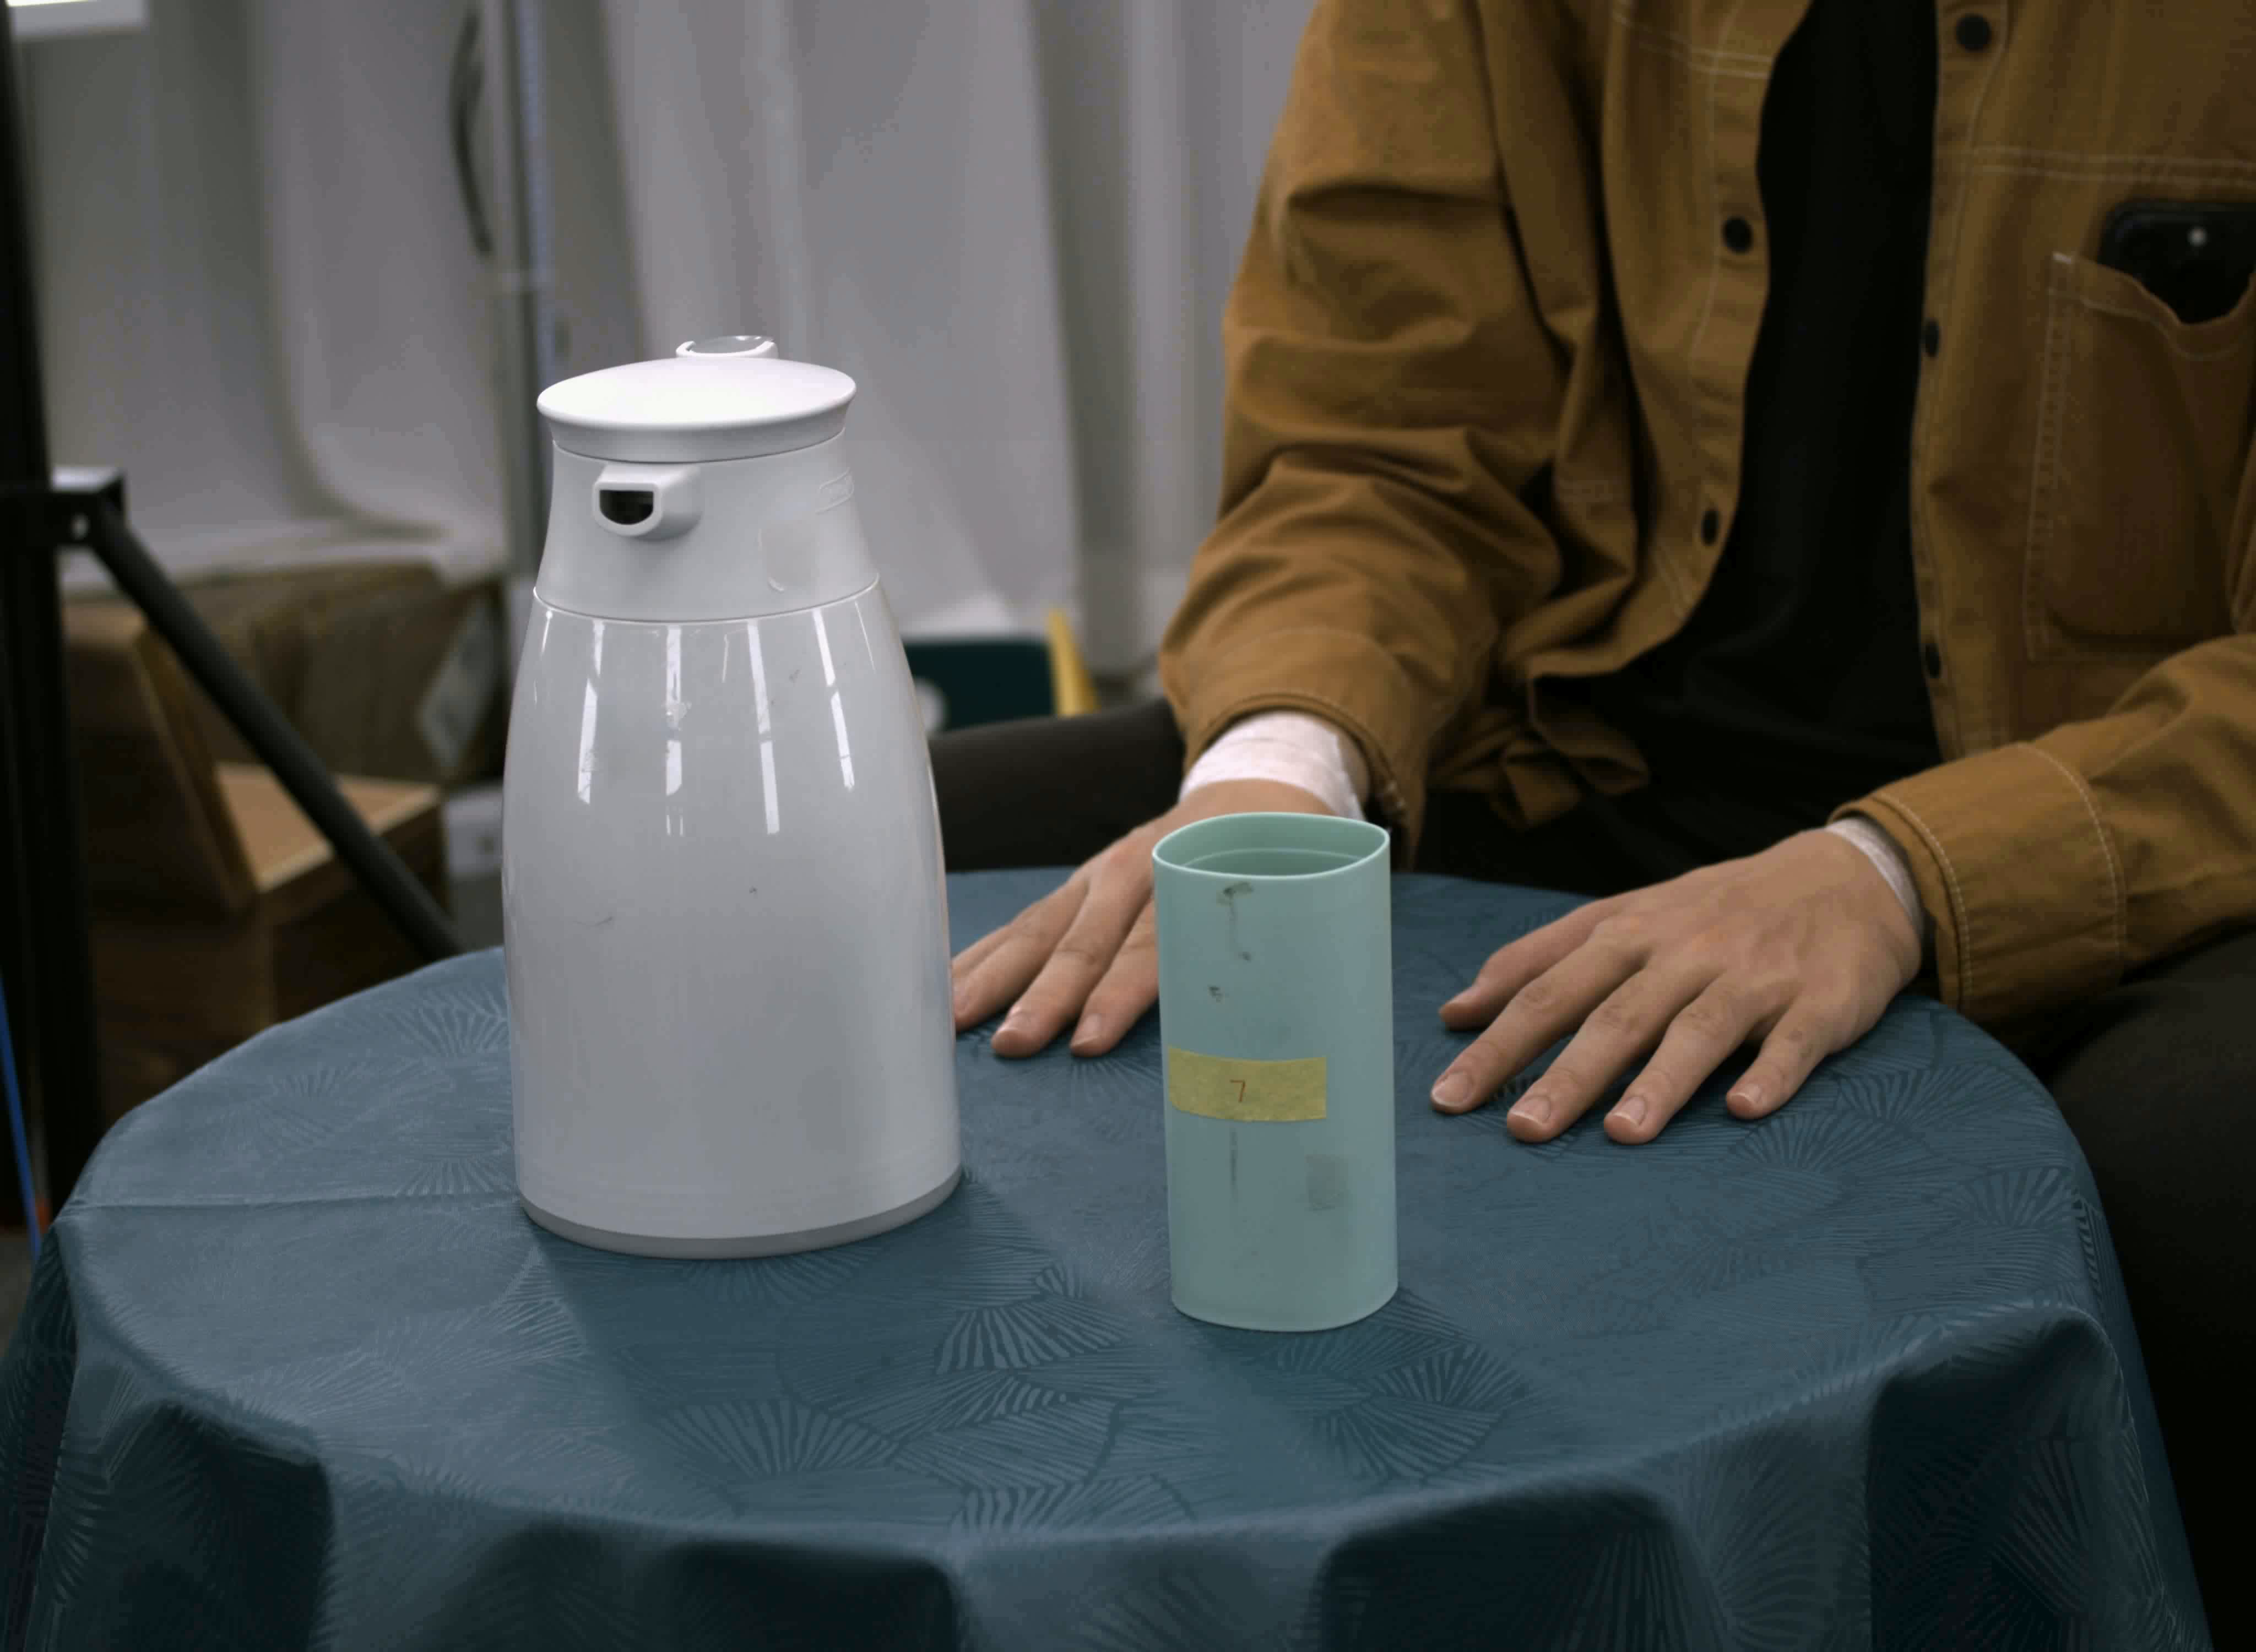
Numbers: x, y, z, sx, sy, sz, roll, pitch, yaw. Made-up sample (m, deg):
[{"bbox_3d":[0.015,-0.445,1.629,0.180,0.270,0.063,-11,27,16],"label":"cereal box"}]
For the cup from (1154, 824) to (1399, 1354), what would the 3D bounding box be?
[{"bbox_3d":[0.043,0.071,1.452,0.066,0.132,0.067,-2,15,-1],"label":"cup"}]

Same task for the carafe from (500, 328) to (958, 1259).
[{"bbox_3d":[-0.116,-0.018,1.567,0.133,0.248,0.166,2,15,14],"label":"carafe"}]
